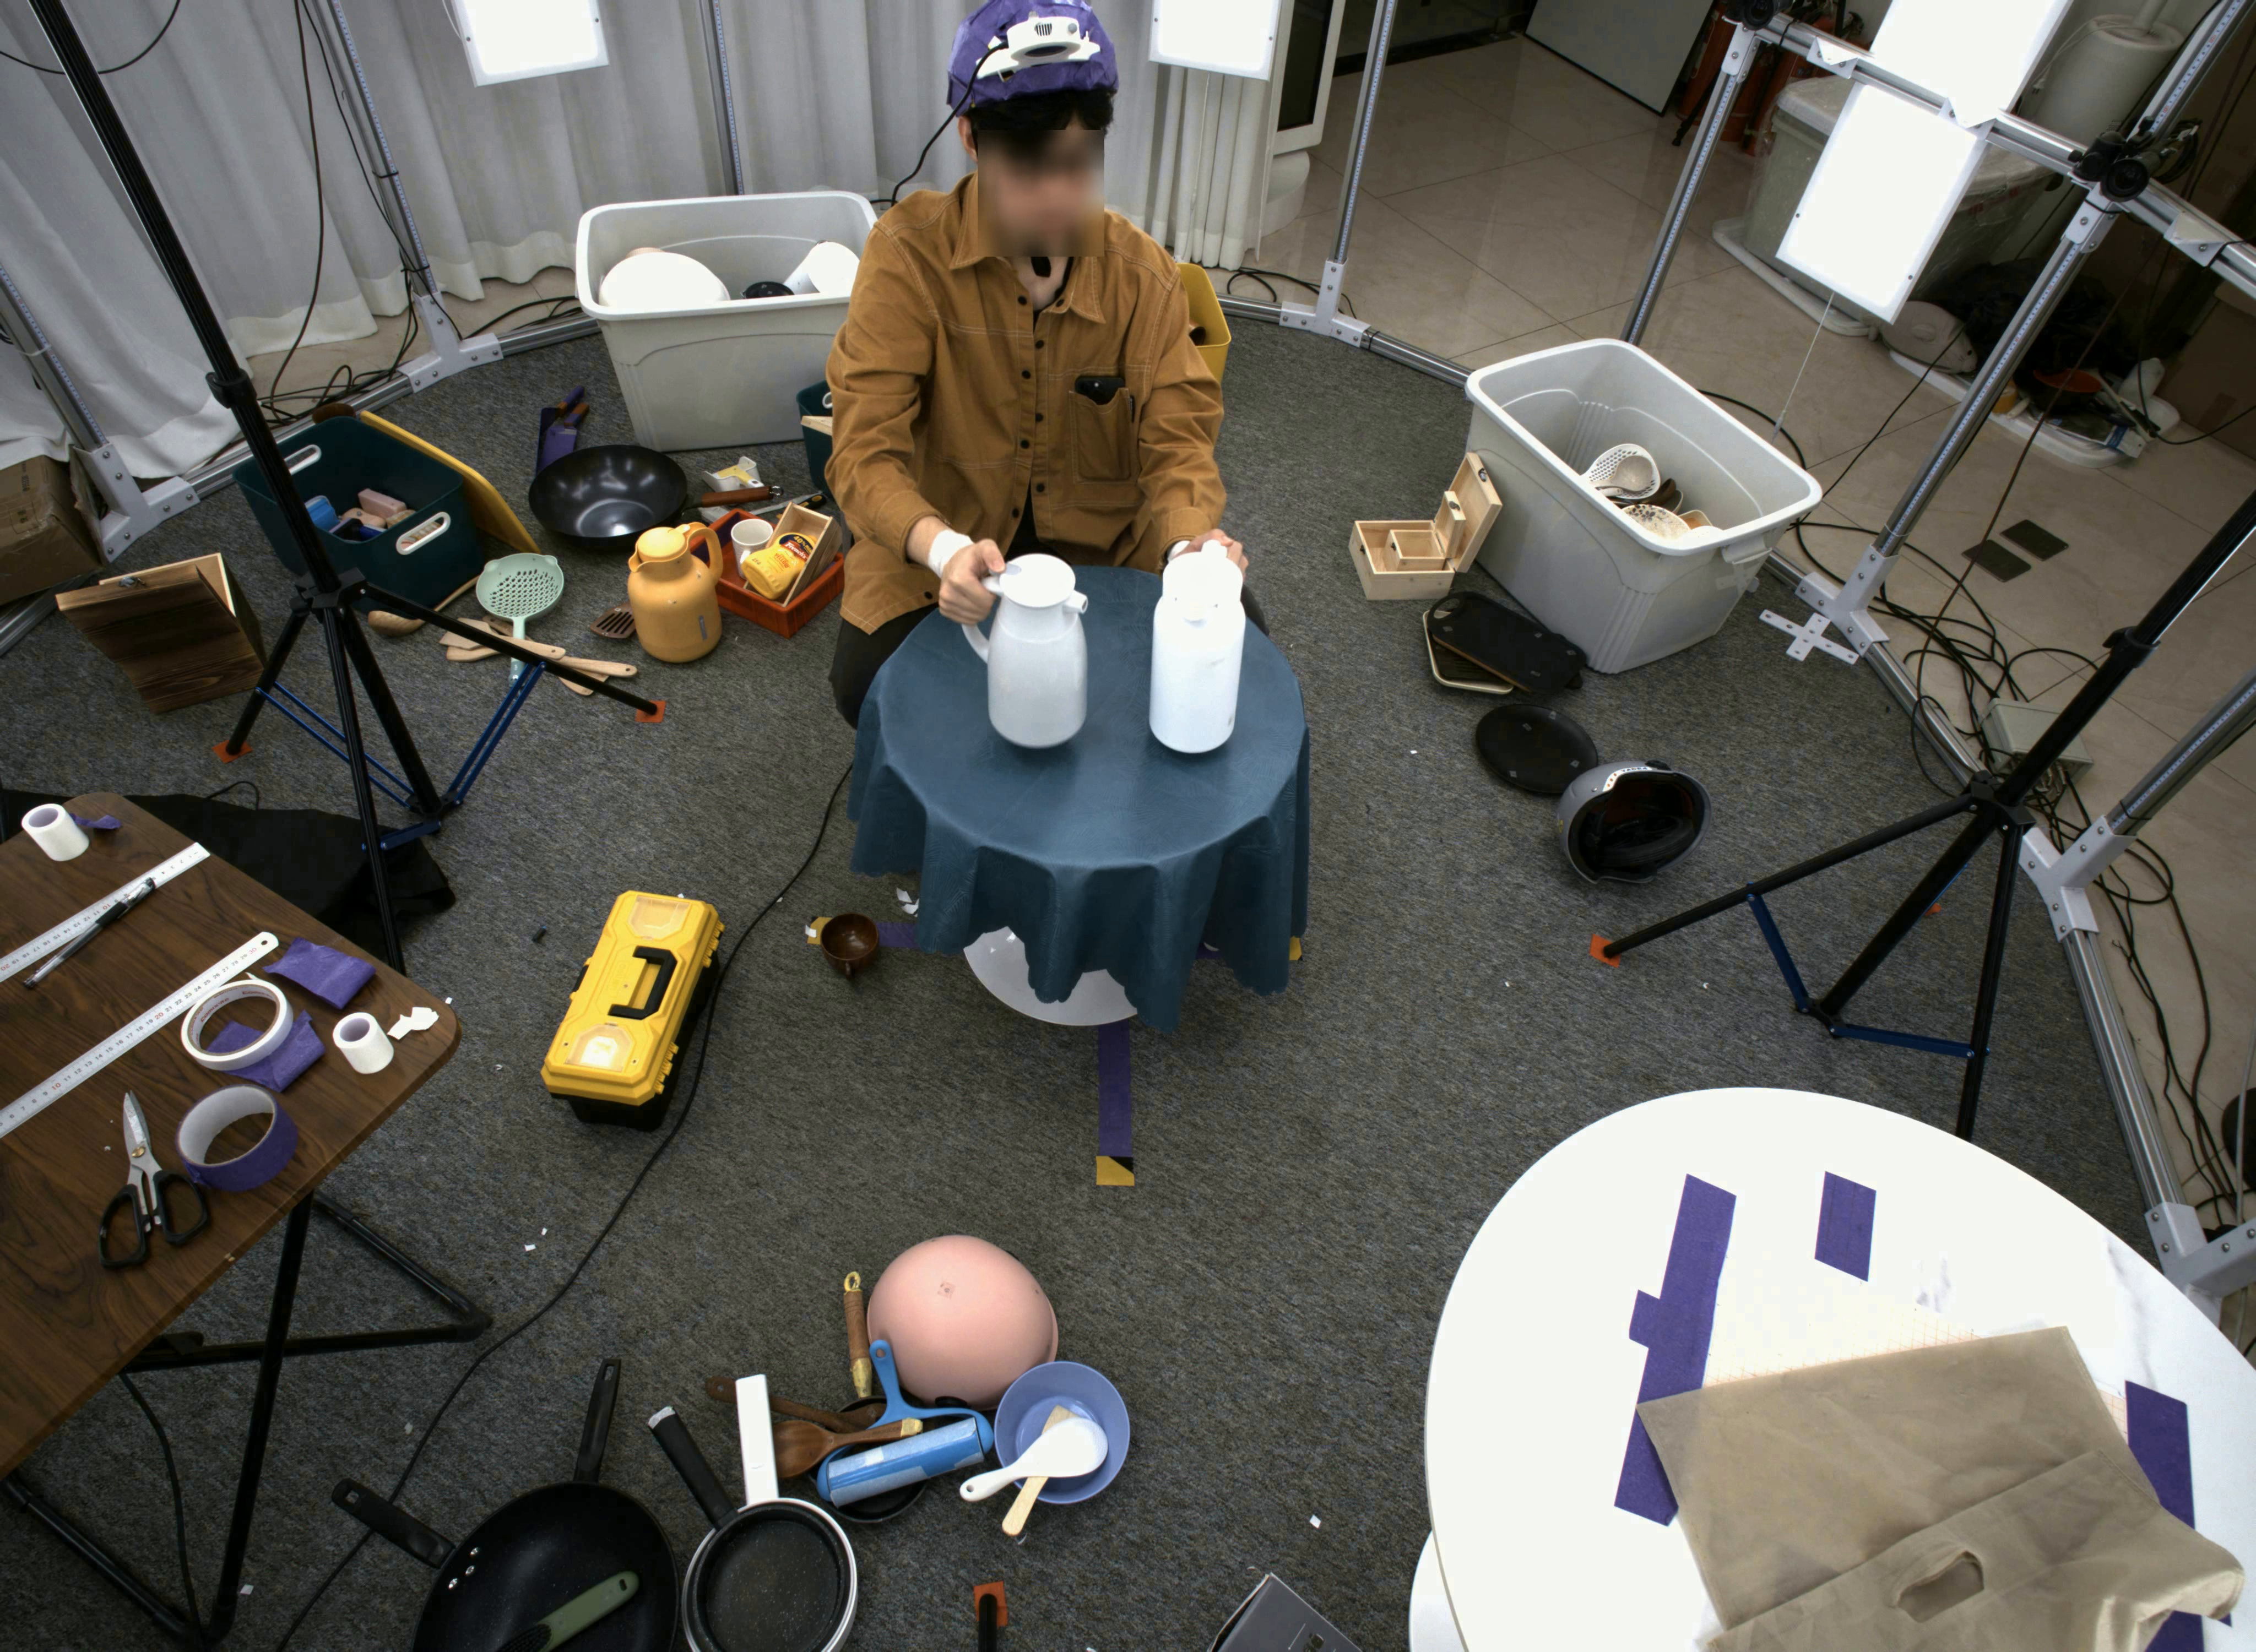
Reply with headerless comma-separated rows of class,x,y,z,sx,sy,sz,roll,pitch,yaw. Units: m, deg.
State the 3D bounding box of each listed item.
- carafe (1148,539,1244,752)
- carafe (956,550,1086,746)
carafe,0.091,-0.237,1.679,0.124,0.262,0.177,9,50,9
carafe,-0.136,-0.235,1.634,0.168,0.242,0.135,17,54,11
